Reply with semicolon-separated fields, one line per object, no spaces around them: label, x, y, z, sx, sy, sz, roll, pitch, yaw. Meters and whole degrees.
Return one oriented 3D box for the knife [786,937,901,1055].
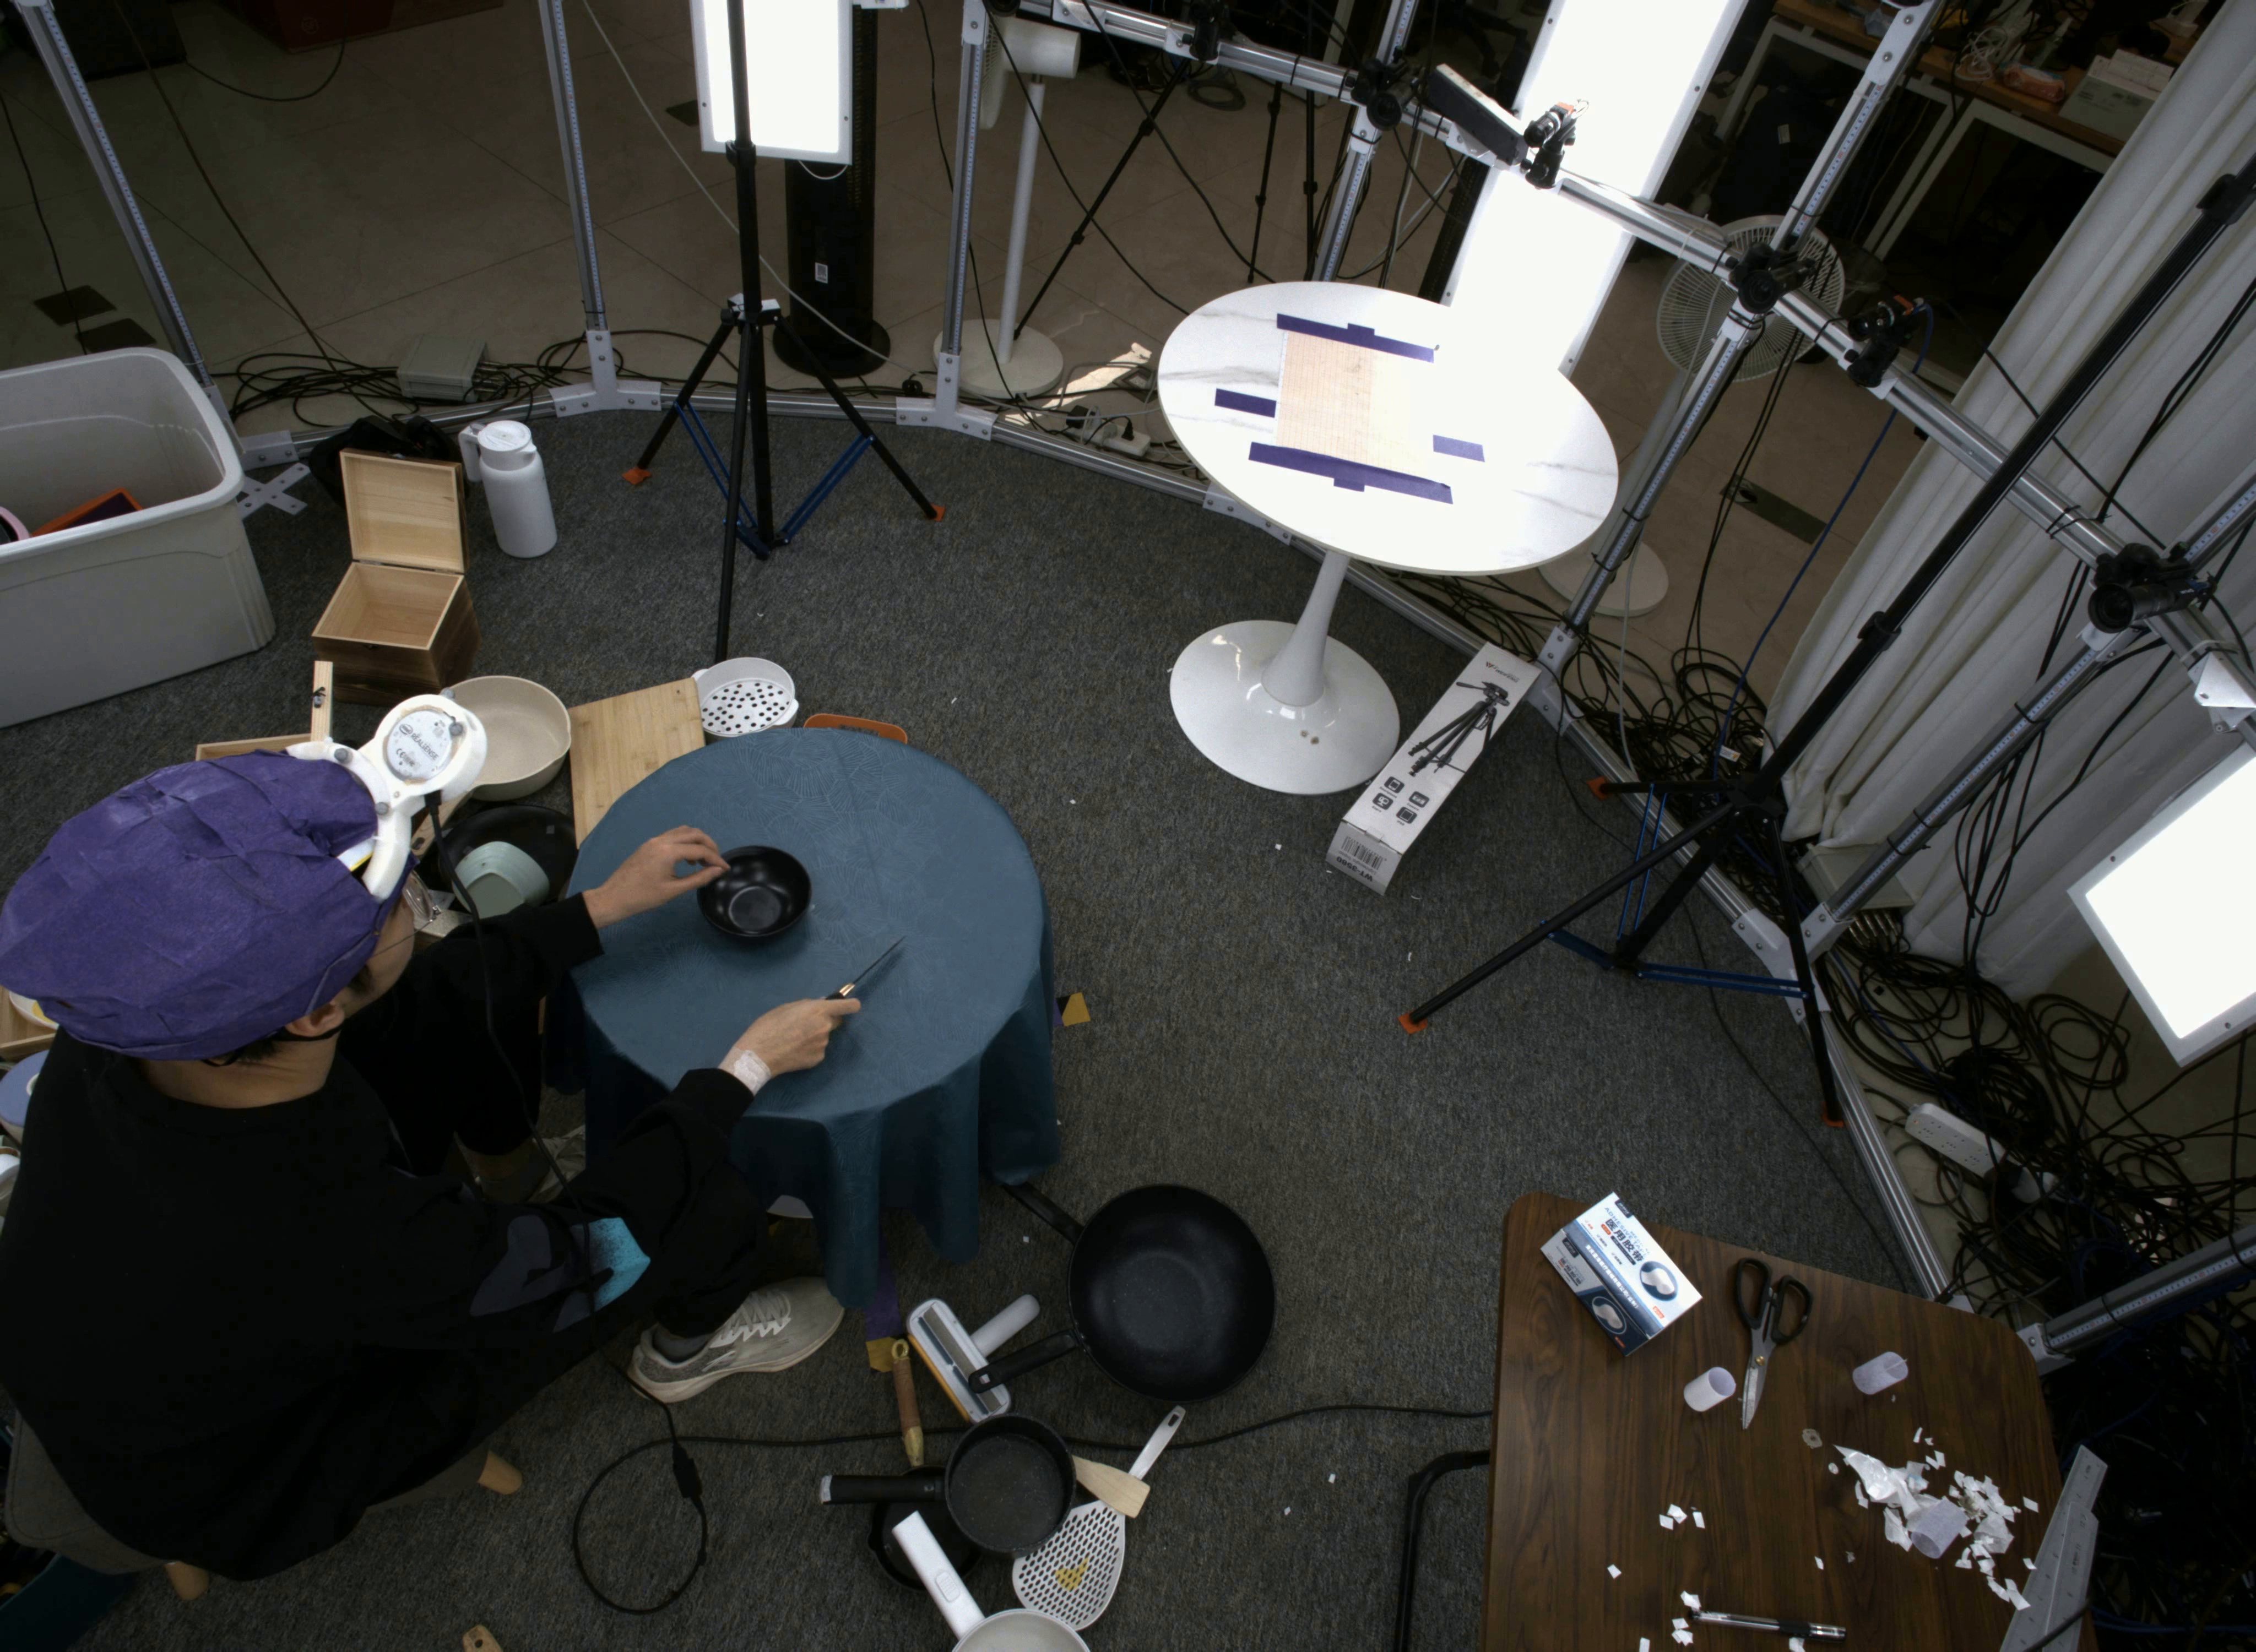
knife;-0.337;0.196;1.561;0.017;0.026;0.225;48;45;-6

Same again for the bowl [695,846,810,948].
bowl;-0.464;0.094;1.604;0.140;0.050;0.138;7;56;-8
